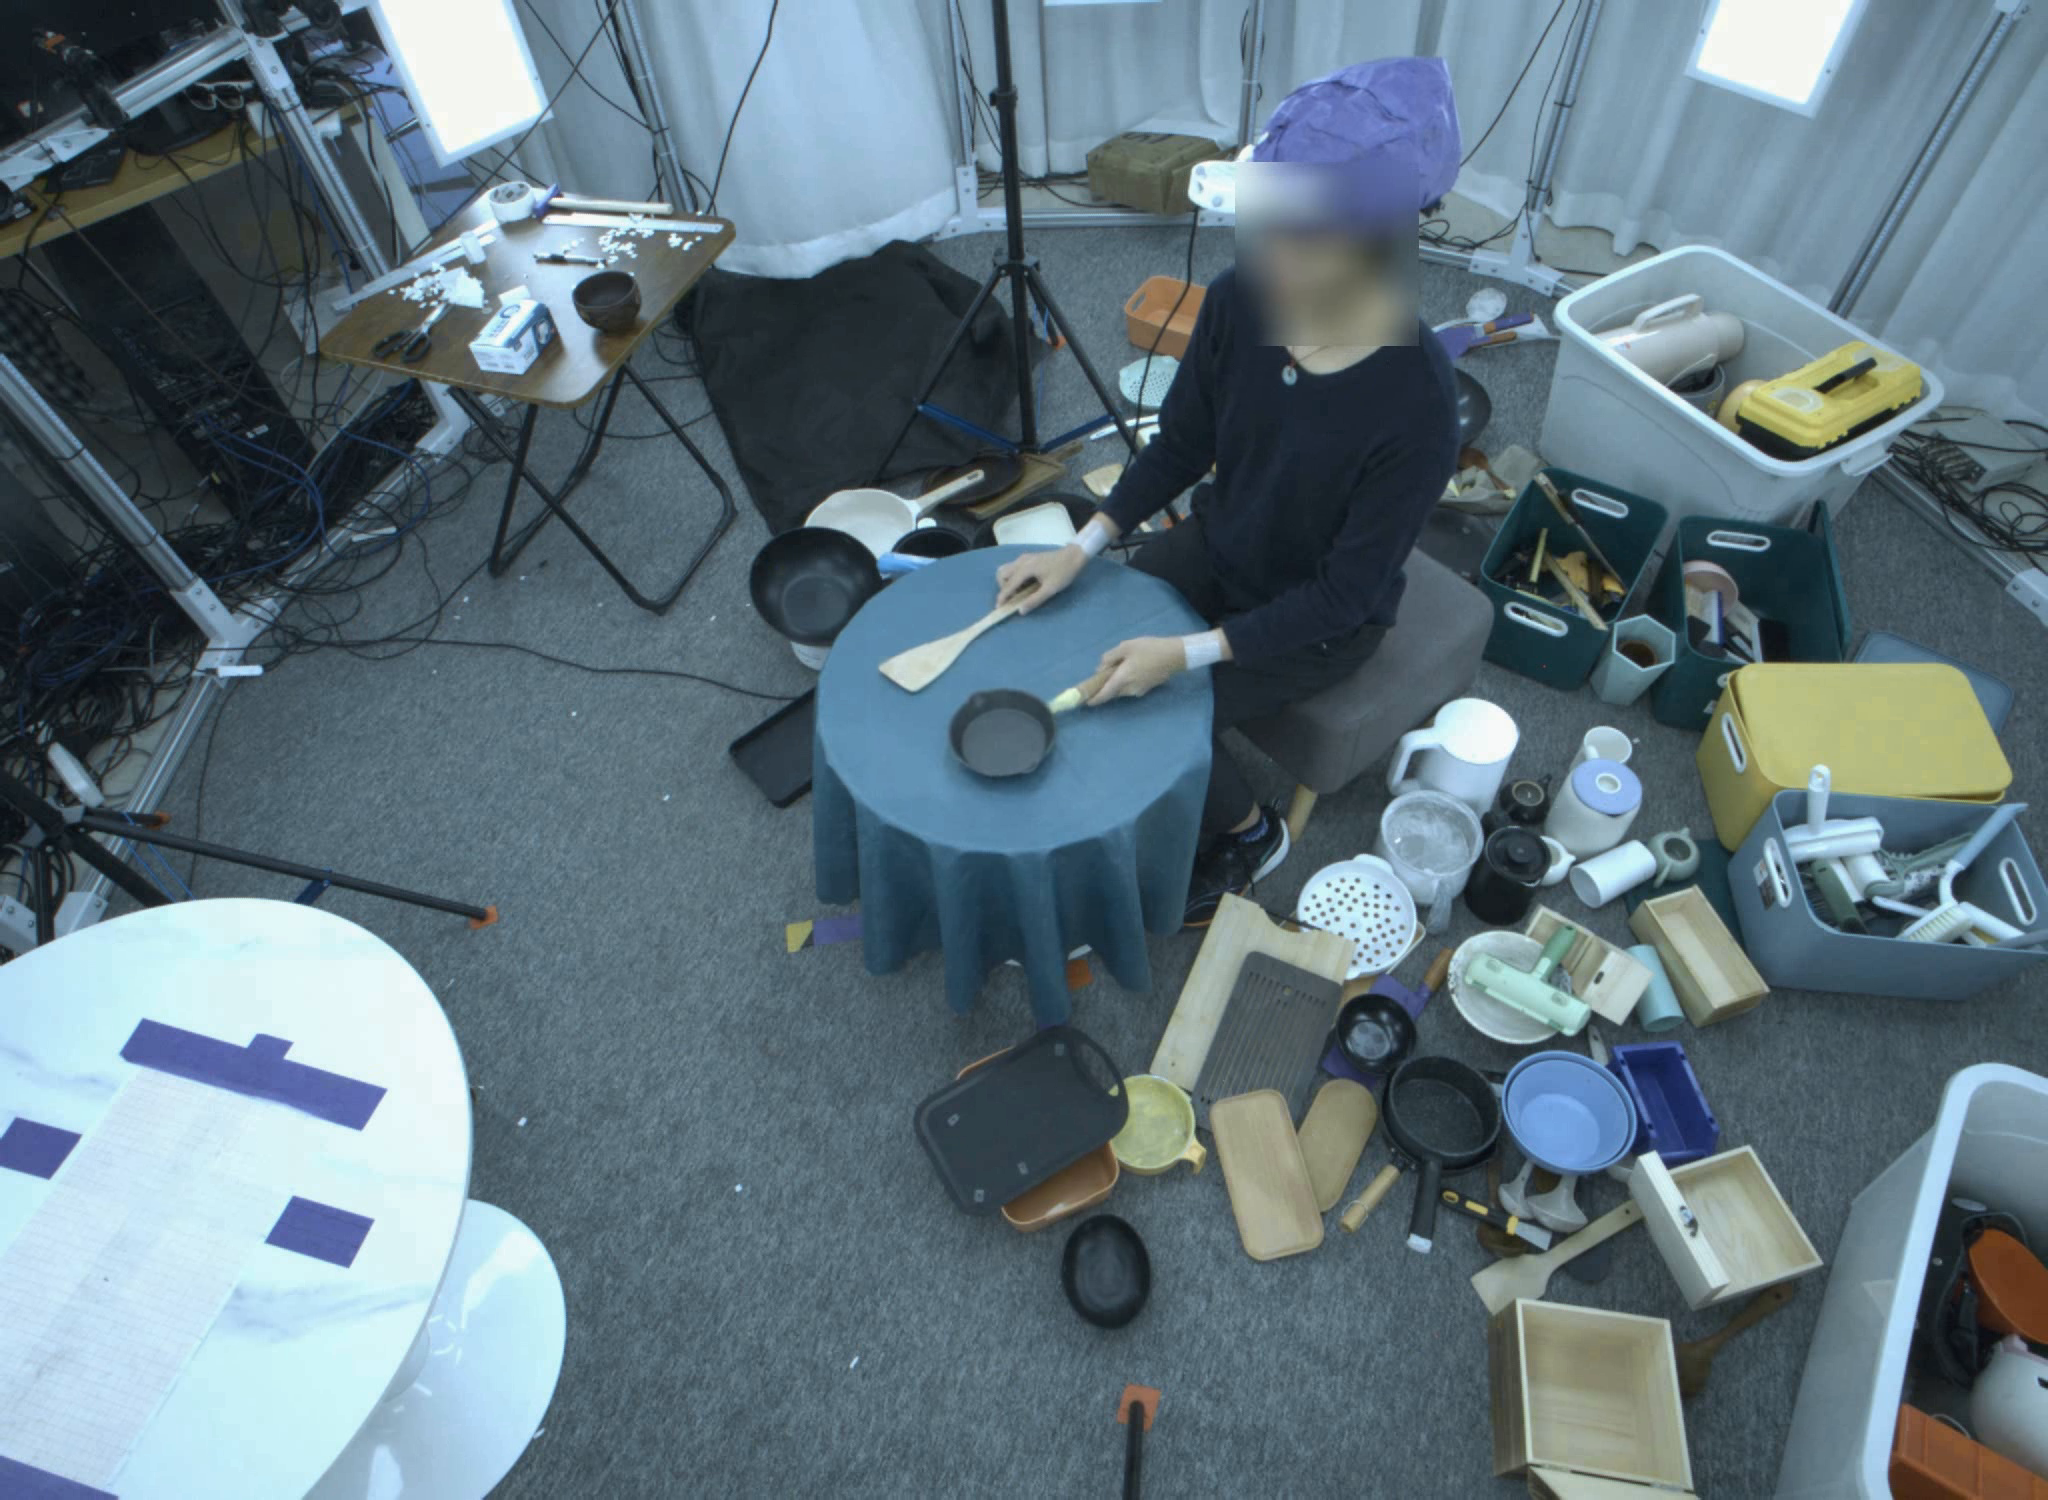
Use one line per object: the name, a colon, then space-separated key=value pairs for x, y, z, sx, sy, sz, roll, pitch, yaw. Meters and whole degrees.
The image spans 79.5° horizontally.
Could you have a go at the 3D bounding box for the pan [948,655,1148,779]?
pan: x=0.043 y=-0.059 z=1.796 sx=0.326 sy=0.050 sz=0.166 roll=-26 pitch=58 yaw=-14

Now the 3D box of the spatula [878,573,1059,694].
spatula: x=-0.075 y=-0.189 z=1.911 sx=0.330 sy=0.017 sz=0.078 roll=-36 pitch=62 yaw=-17
